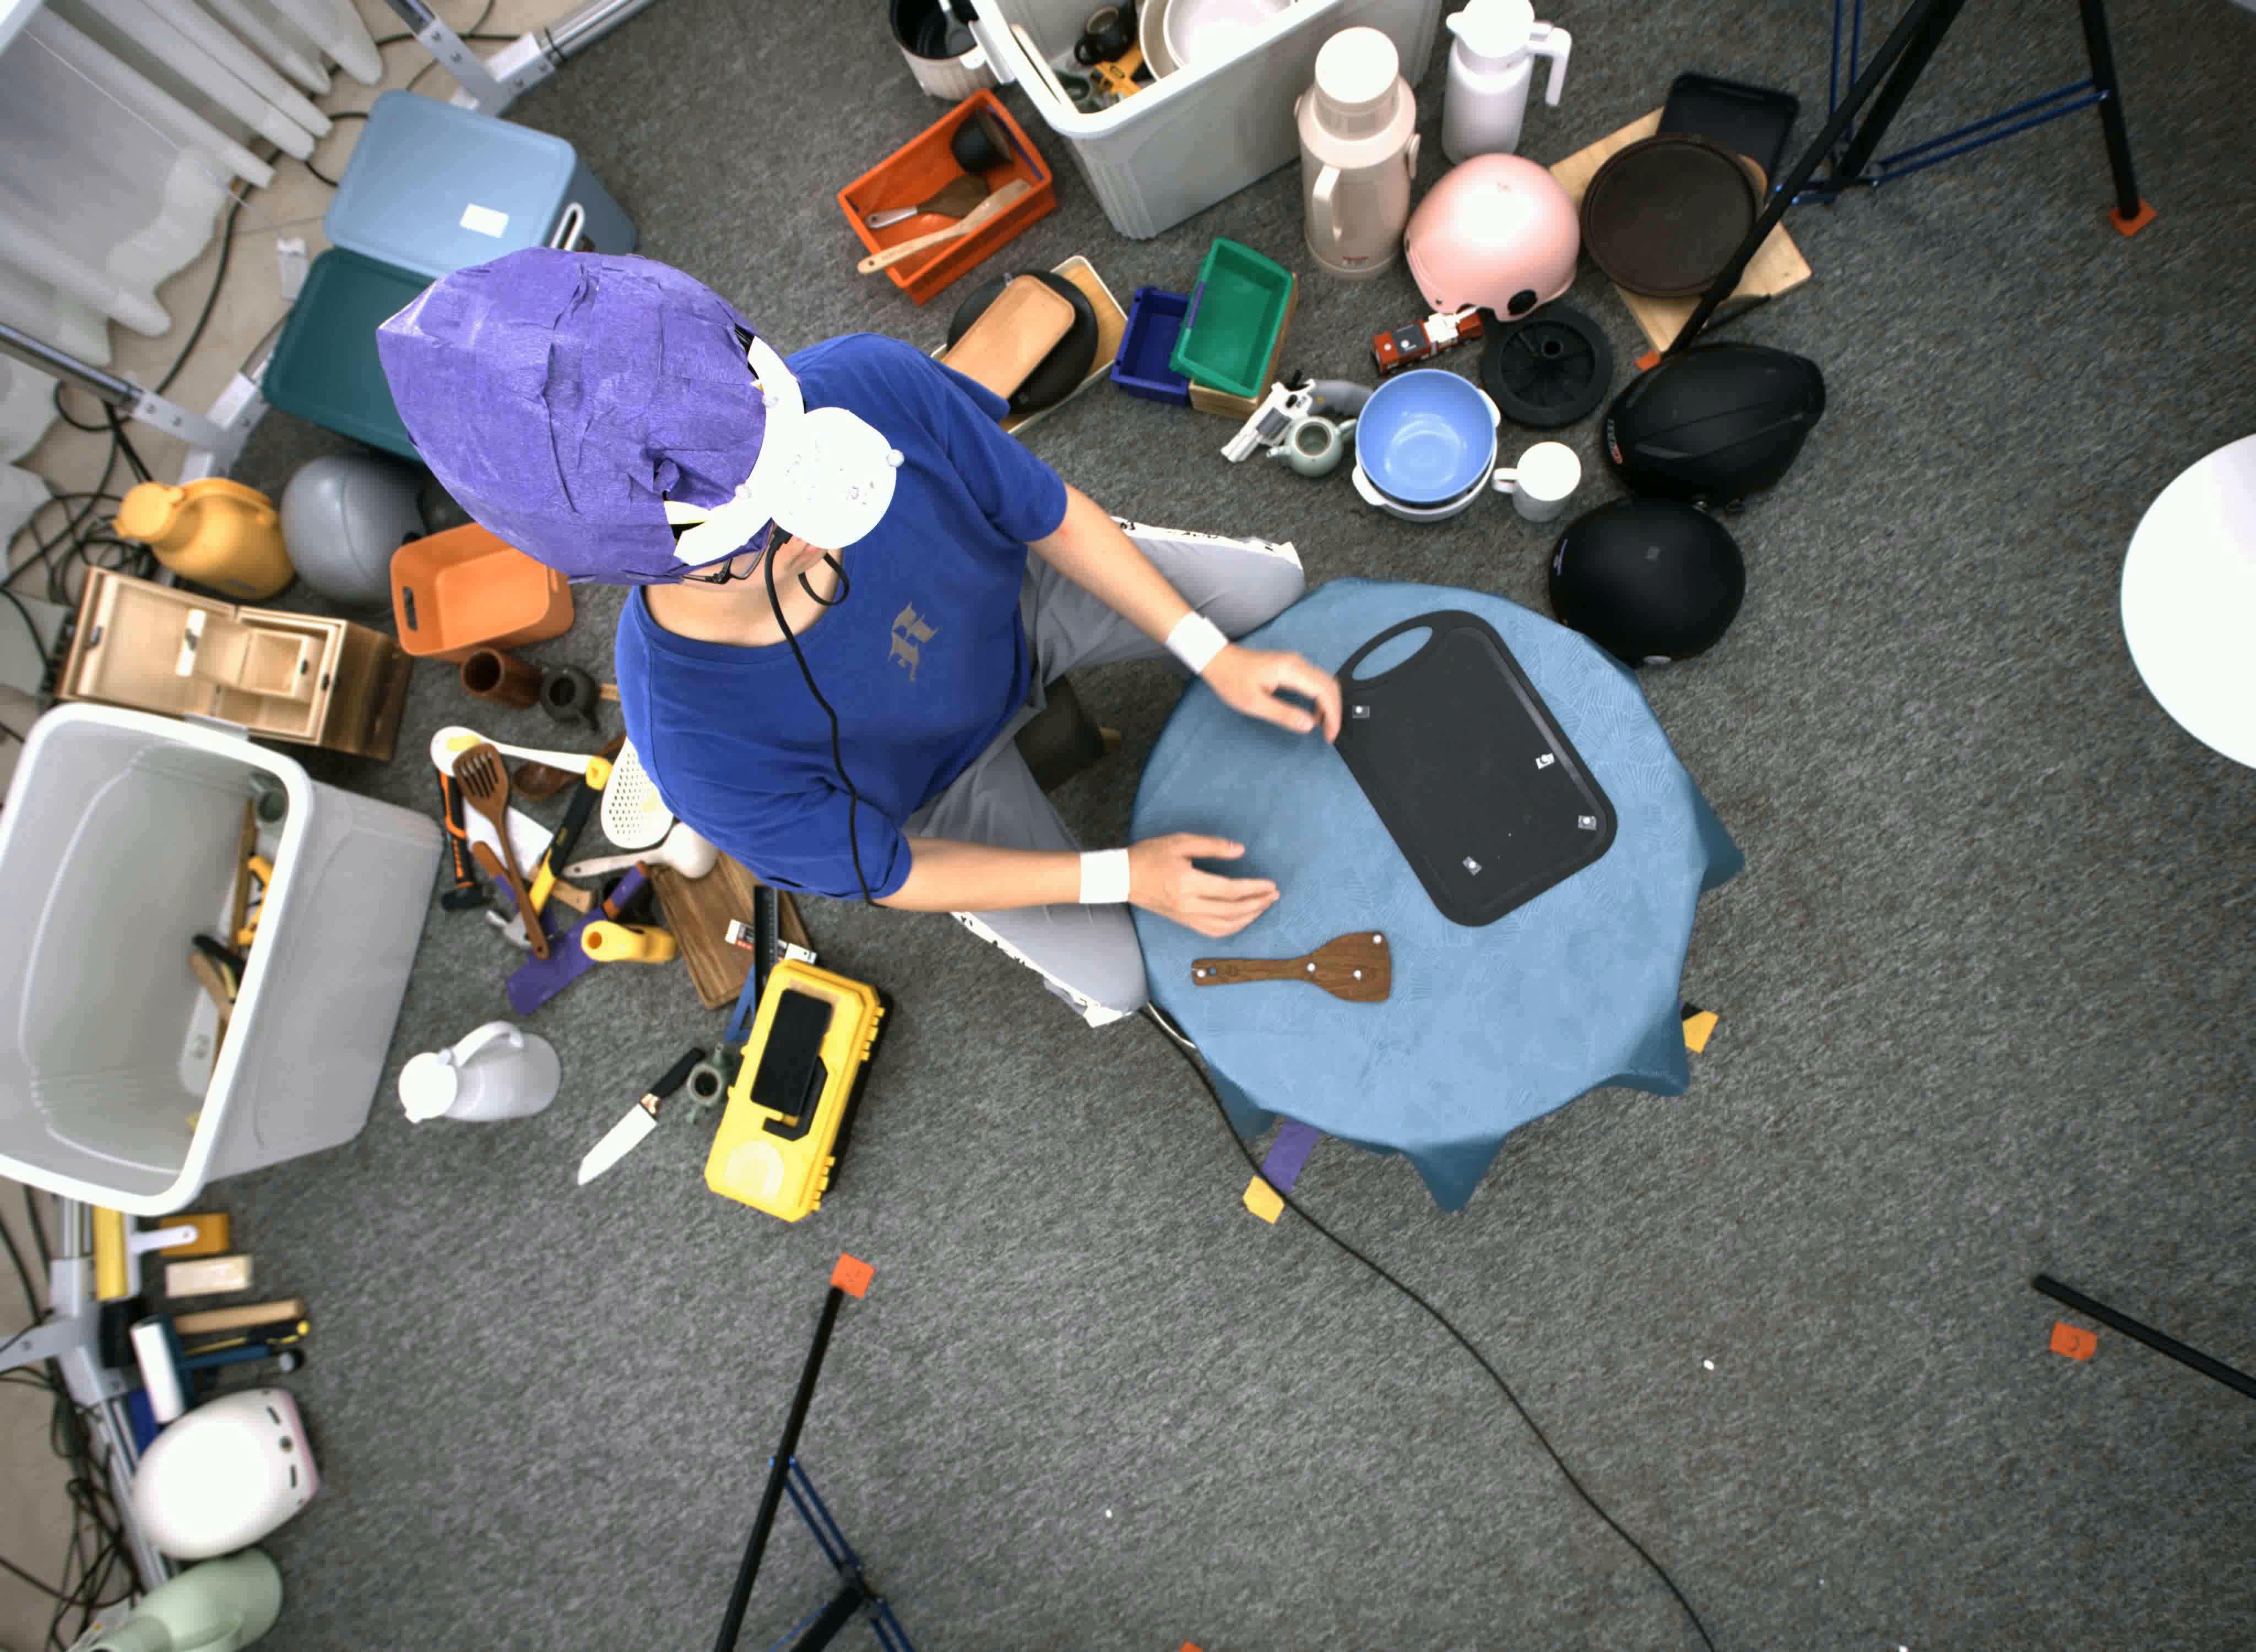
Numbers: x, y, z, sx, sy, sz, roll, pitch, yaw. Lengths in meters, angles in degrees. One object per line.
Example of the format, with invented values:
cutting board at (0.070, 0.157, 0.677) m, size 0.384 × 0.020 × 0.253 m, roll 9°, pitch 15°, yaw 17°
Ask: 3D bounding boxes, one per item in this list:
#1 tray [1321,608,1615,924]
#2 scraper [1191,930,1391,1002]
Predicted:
tray at (0.351, -0.073, 1.447) m, size 0.212 × 0.010 × 0.323 m, roll -31°, pitch 82°, yaw 8°
scraper at (0.171, 0.150, 1.468) m, size 0.212 × 0.011 × 0.075 m, roll -3°, pitch 86°, yaw 11°
